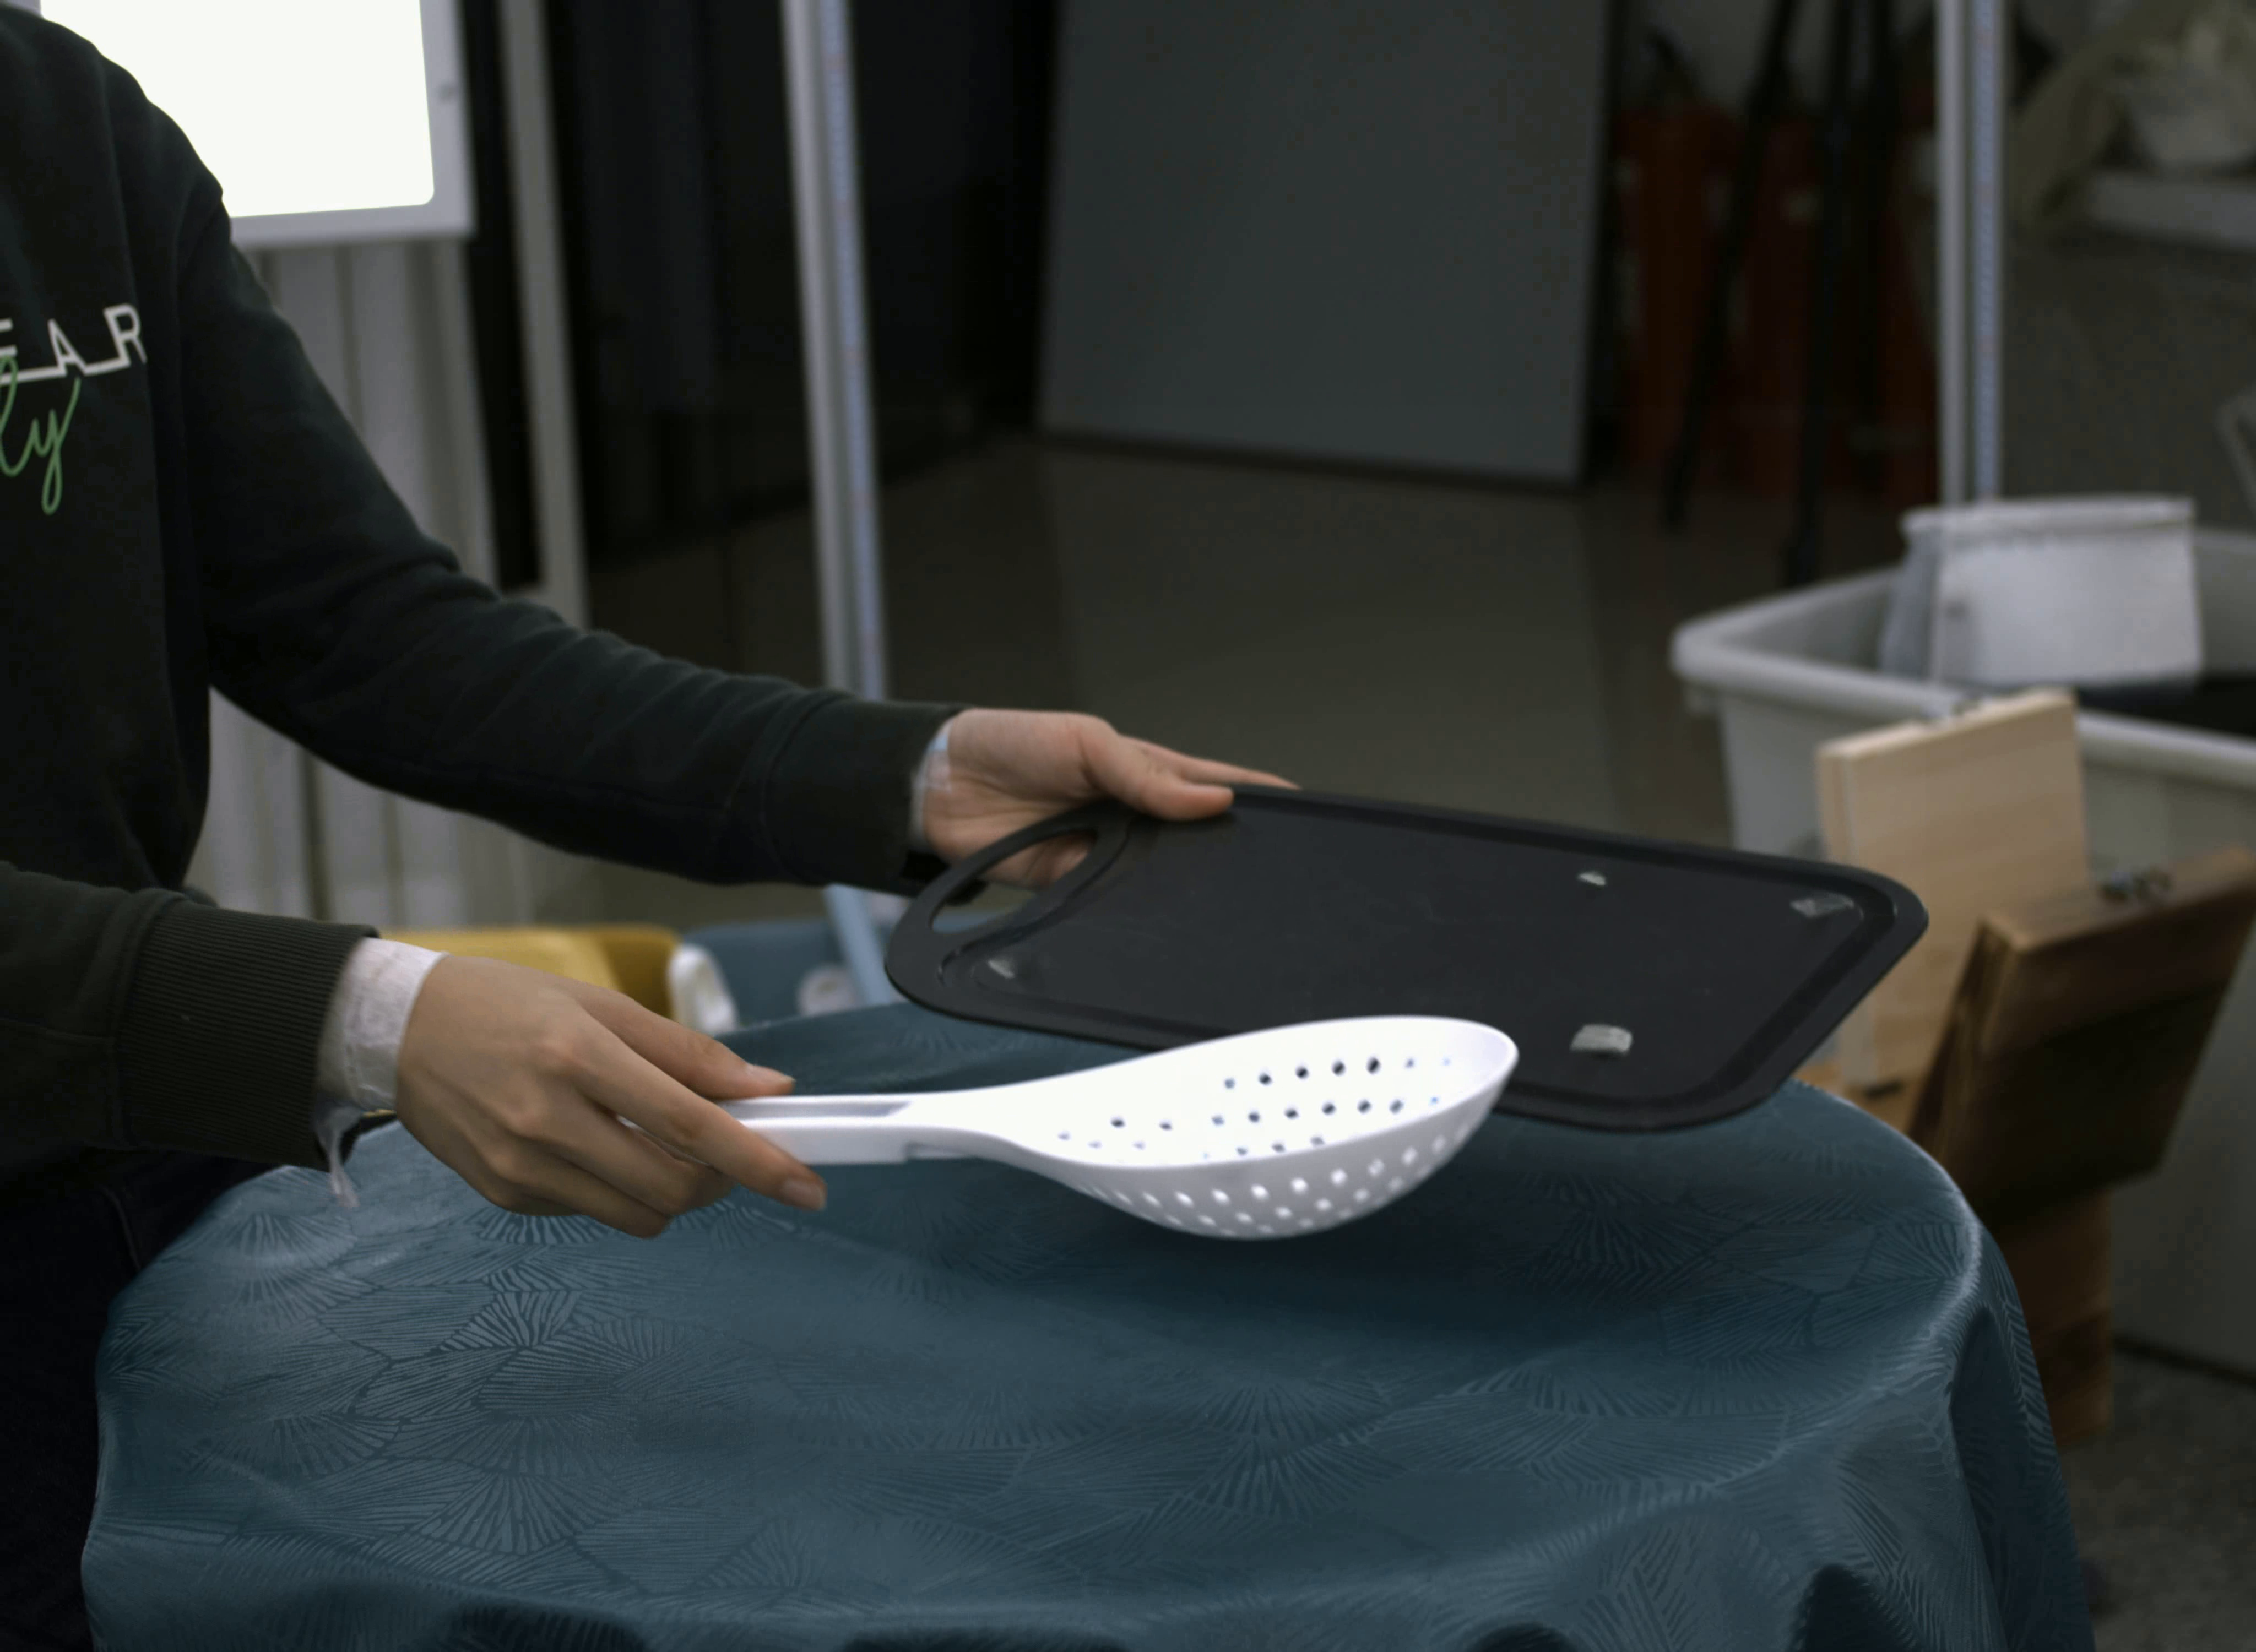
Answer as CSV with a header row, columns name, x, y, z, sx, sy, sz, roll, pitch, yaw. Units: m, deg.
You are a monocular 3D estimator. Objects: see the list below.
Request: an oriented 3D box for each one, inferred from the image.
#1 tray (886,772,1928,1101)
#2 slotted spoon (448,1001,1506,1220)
name,x,y,z,sx,sy,sz,roll,pitch,yaw
tray,0.082,0.030,1.734,0.326,0.010,0.208,8,24,29
slotted spoon,-0.052,0.082,1.545,0.351,0.046,0.134,1,14,31
